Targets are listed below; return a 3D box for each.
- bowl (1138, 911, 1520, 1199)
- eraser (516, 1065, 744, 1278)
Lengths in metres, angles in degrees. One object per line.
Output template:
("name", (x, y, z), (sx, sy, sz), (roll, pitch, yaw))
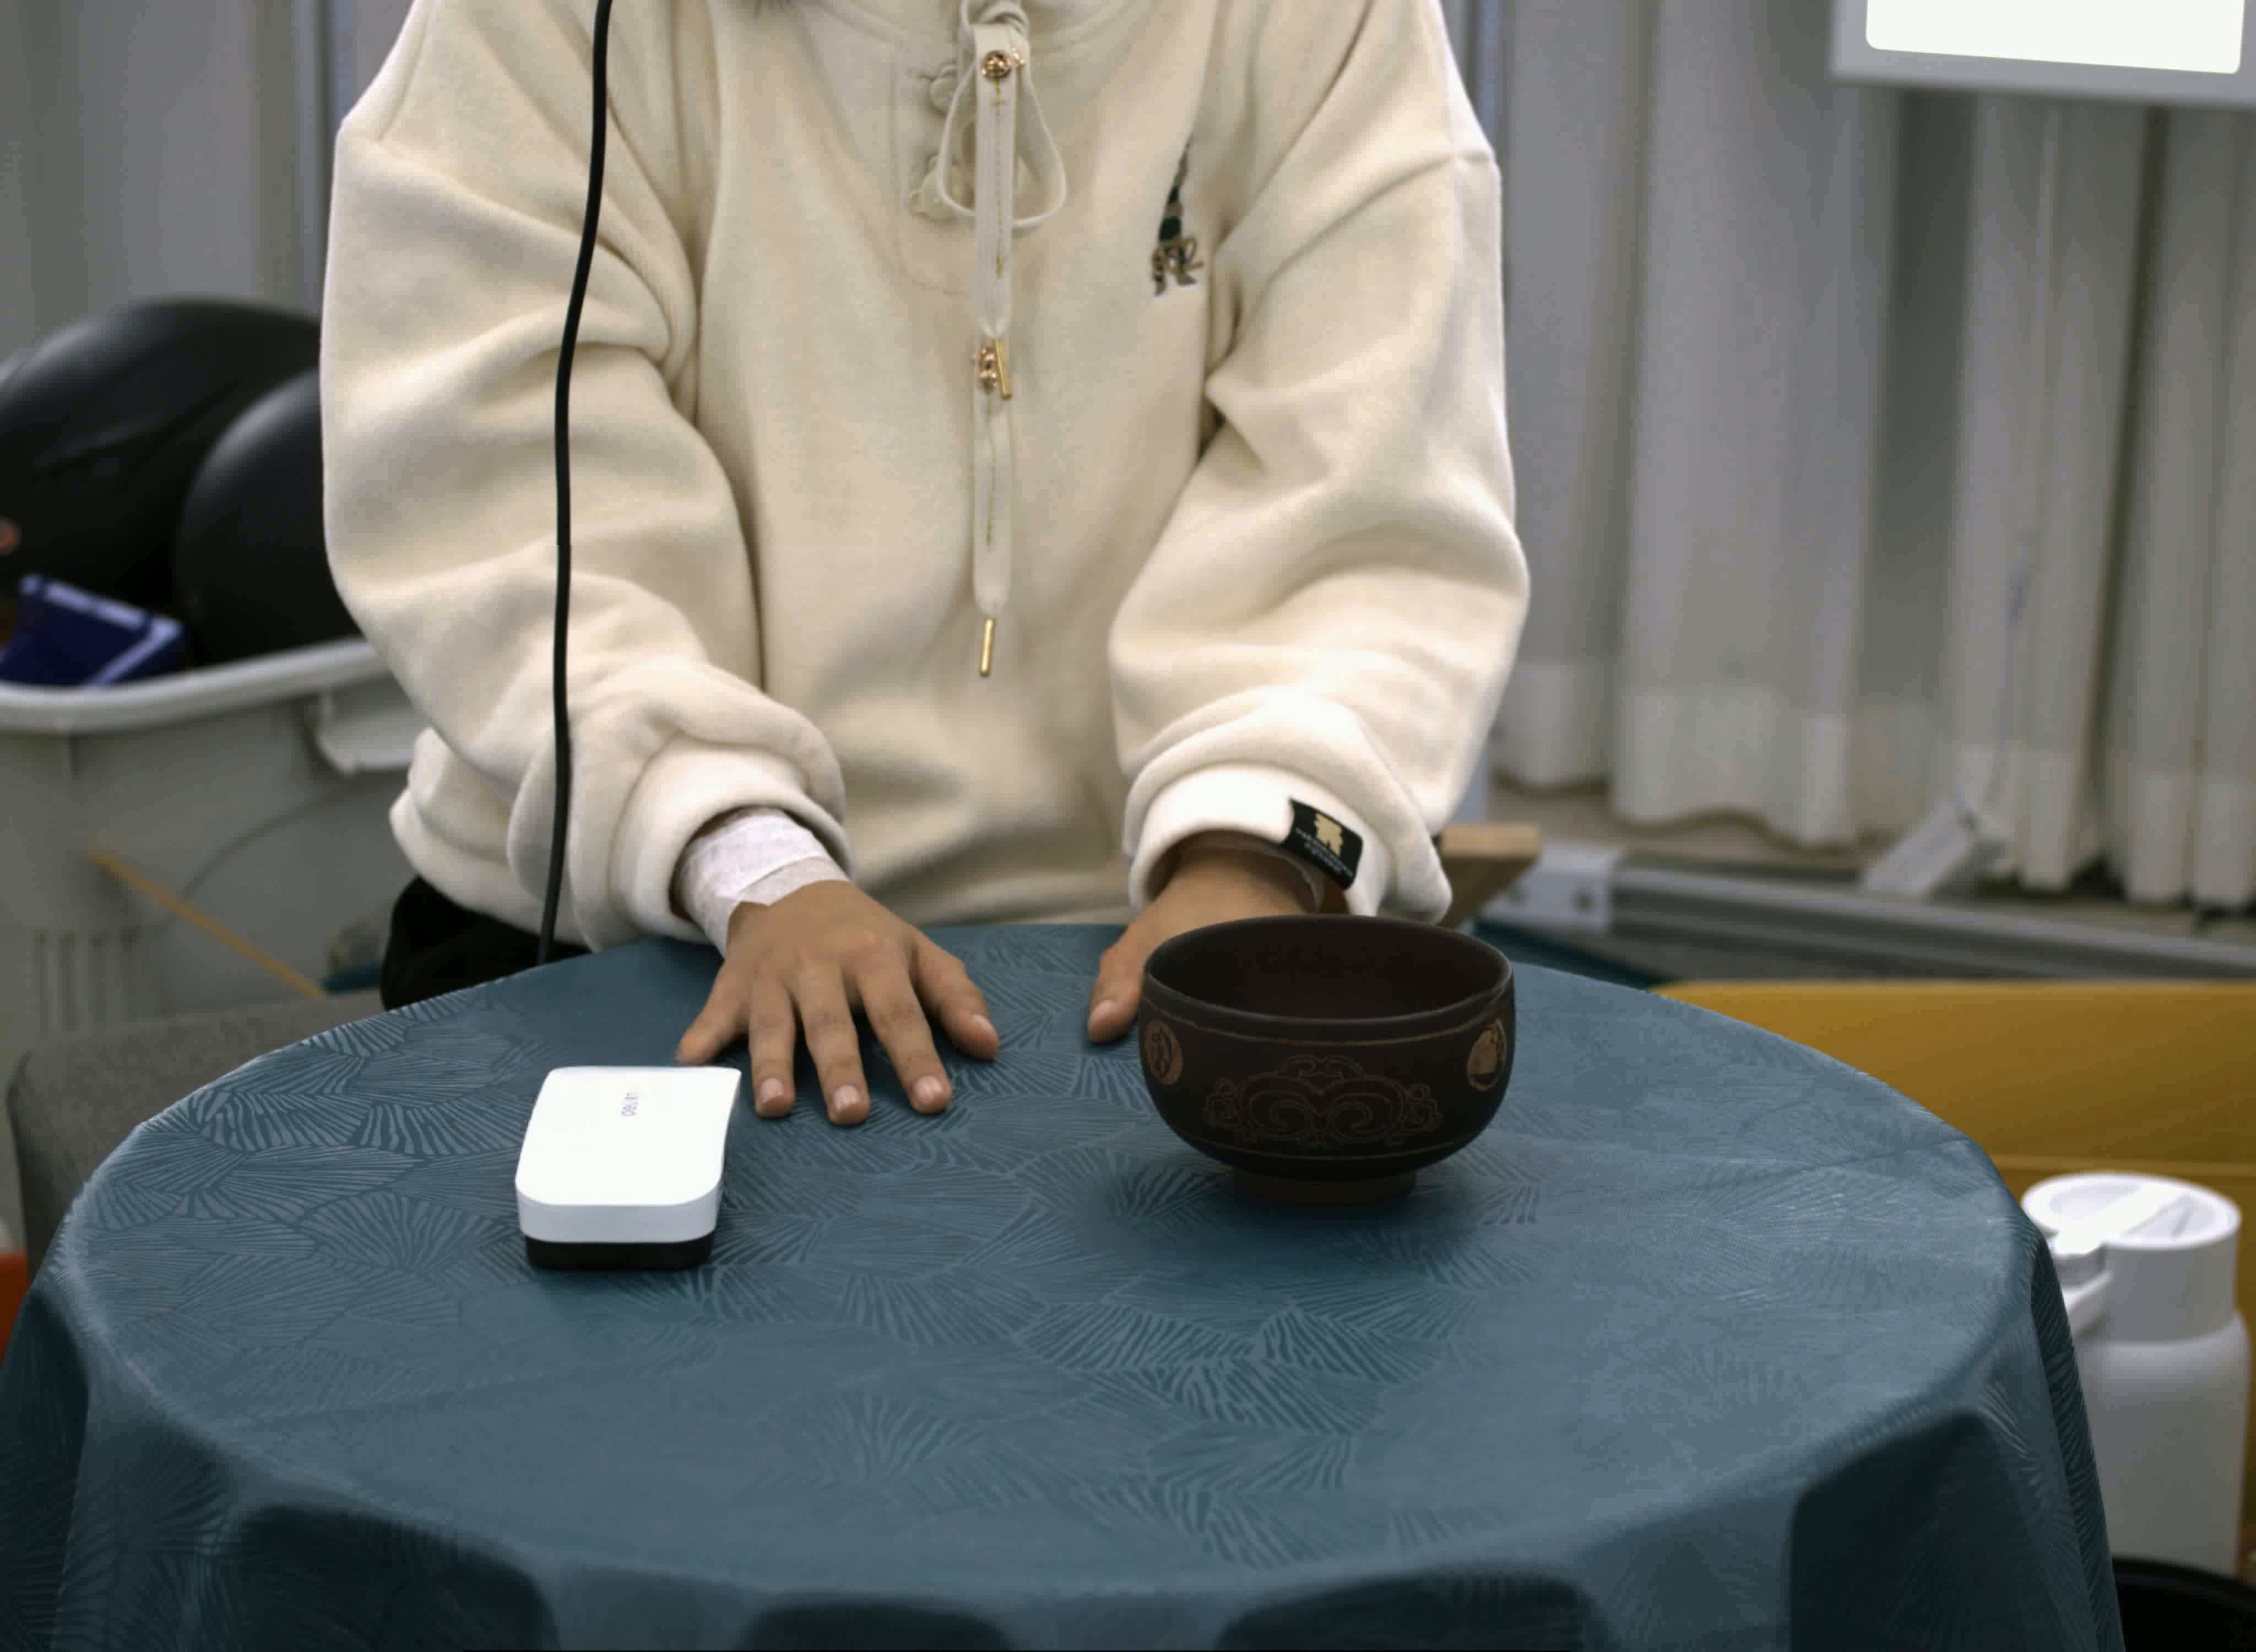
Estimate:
("bowl", (0.061, 0.074, 1.626), (0.117, 0.070, 0.117), (2, 14, 0))
("eraser", (-0.150, 0.100, 1.603), (0.063, 0.035, 0.130), (1, 16, 0))
